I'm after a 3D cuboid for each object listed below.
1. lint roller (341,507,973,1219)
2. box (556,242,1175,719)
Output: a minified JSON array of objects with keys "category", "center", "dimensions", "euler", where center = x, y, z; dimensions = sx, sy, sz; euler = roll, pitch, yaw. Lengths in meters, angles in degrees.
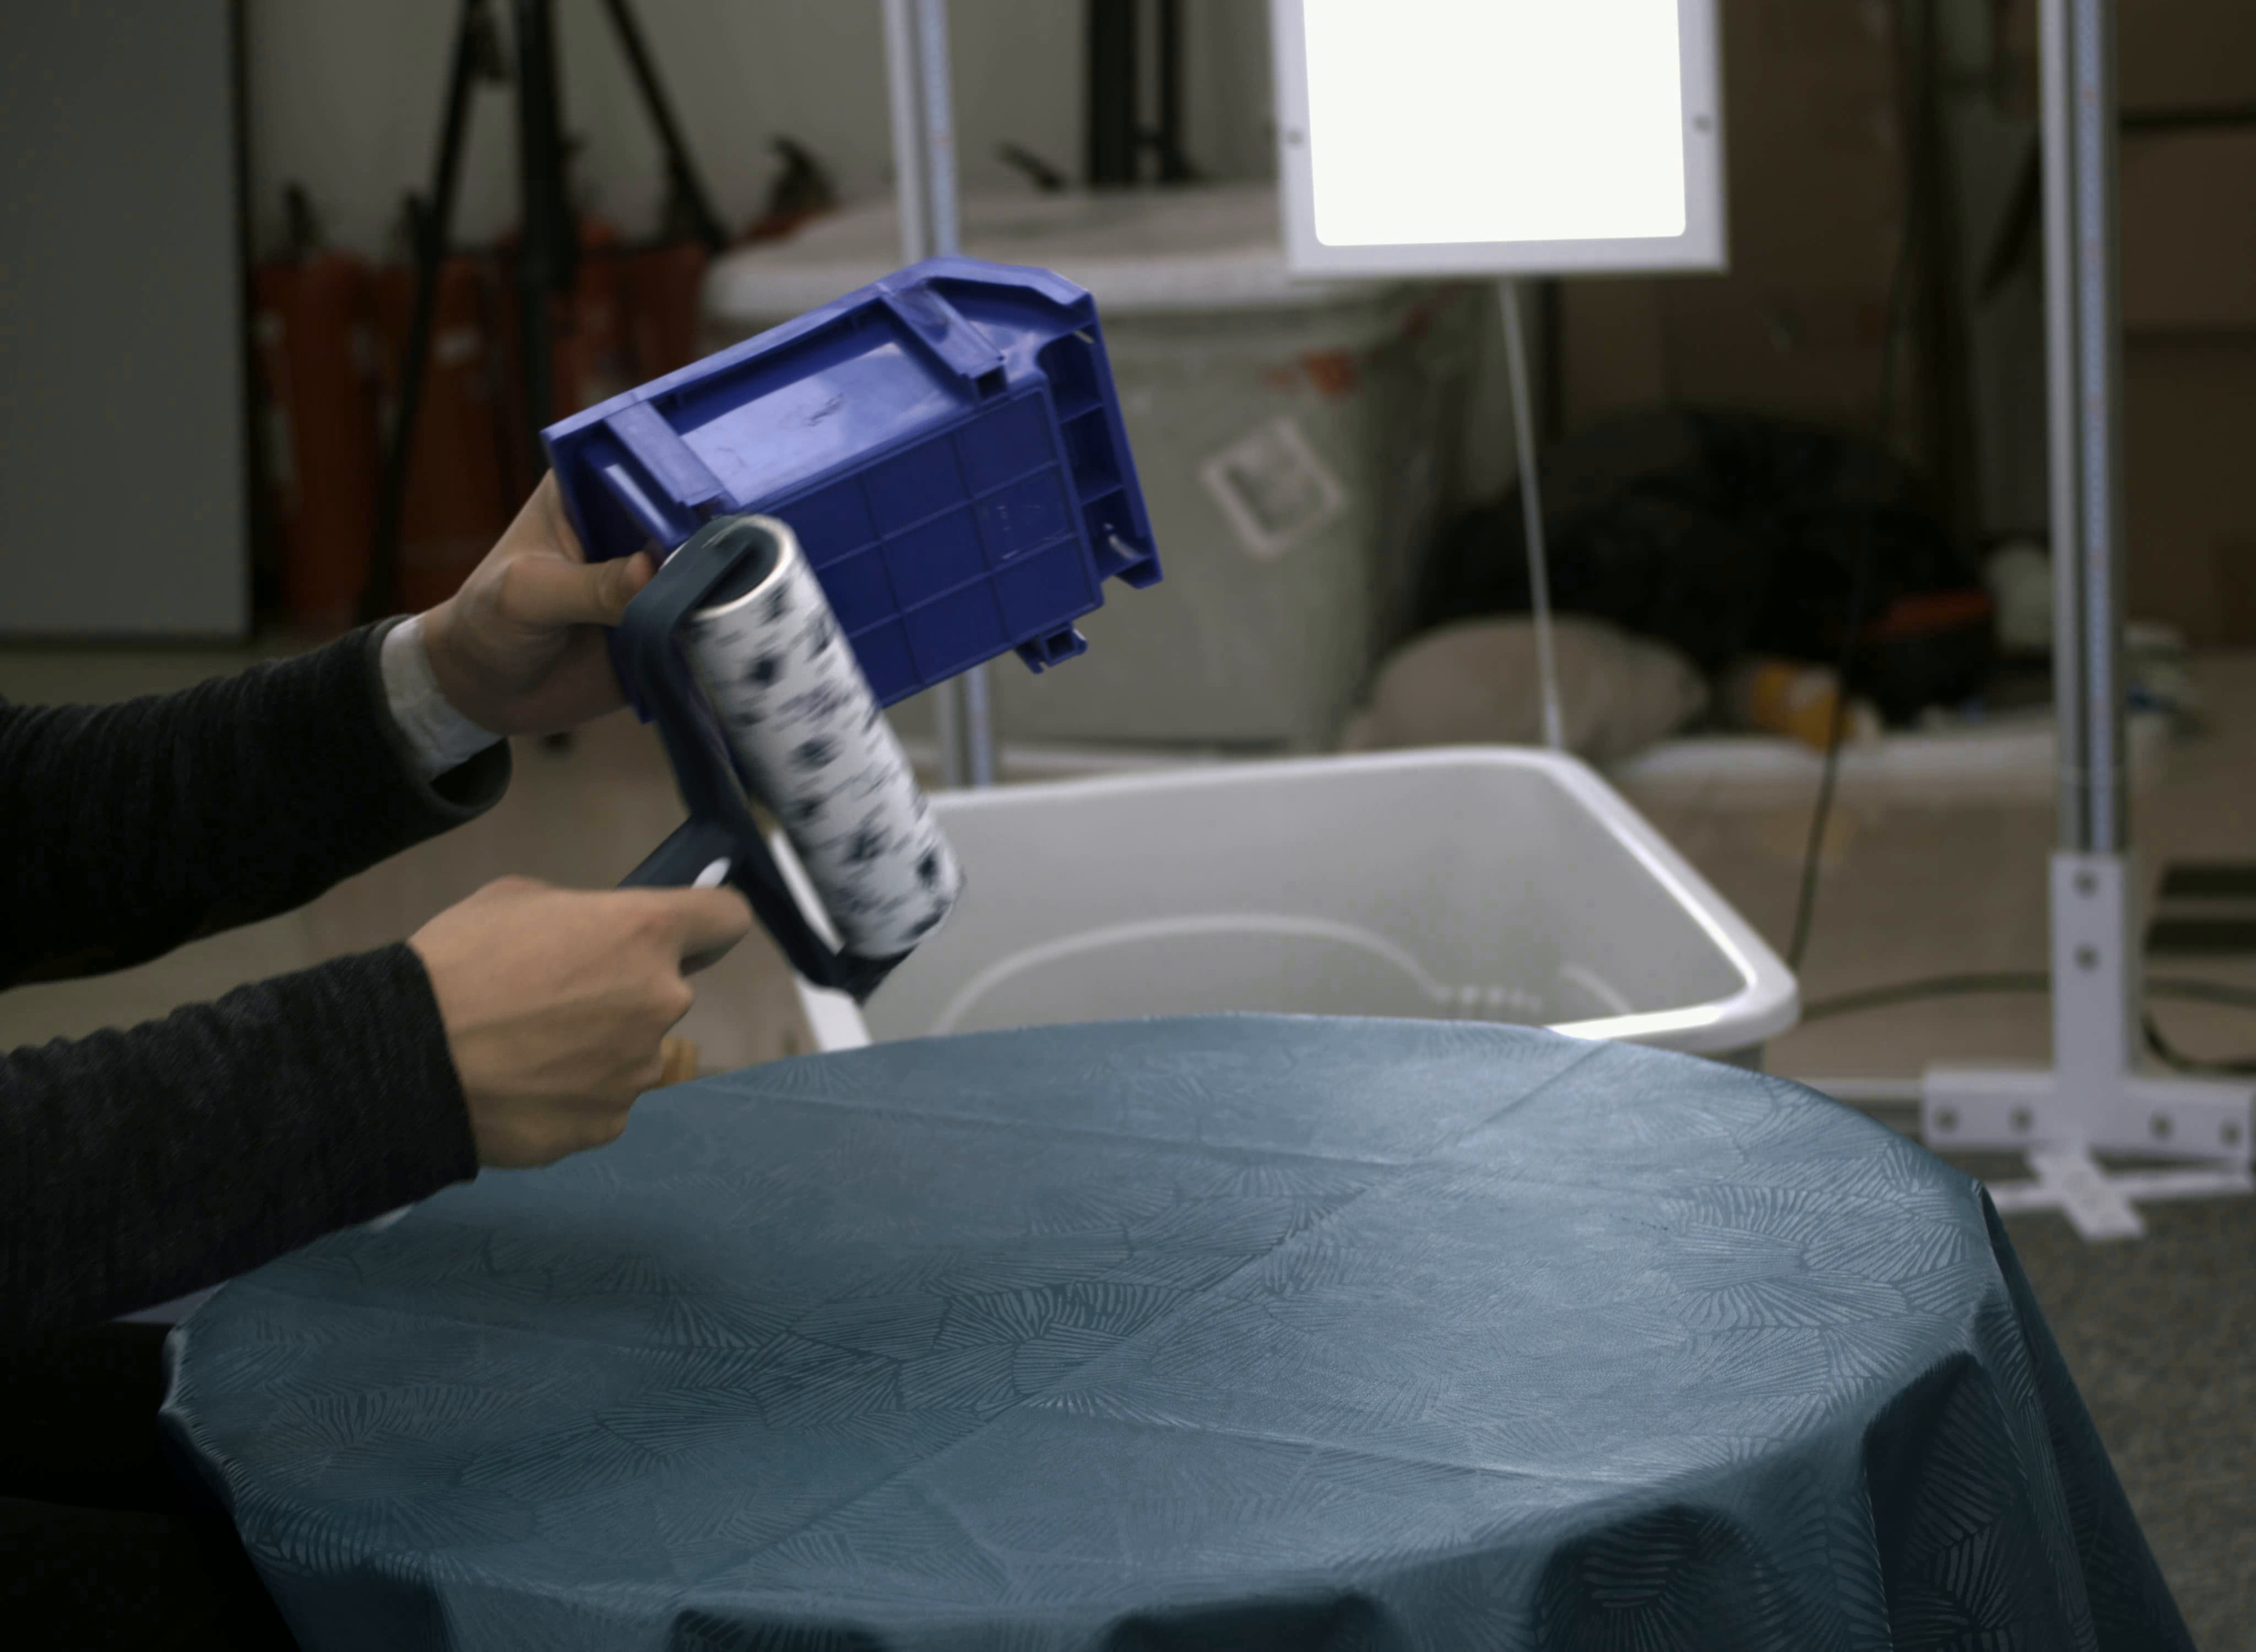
[{"category":"lint roller","center":[-0.159,0.038,1.774],"dimensions":[0.051,0.175,0.244],"euler":[20,59,41]},{"category":"box","center":[-0.082,-0.107,1.857],"dimensions":[0.177,0.124,0.083],"euler":[-28,38,-13]}]
